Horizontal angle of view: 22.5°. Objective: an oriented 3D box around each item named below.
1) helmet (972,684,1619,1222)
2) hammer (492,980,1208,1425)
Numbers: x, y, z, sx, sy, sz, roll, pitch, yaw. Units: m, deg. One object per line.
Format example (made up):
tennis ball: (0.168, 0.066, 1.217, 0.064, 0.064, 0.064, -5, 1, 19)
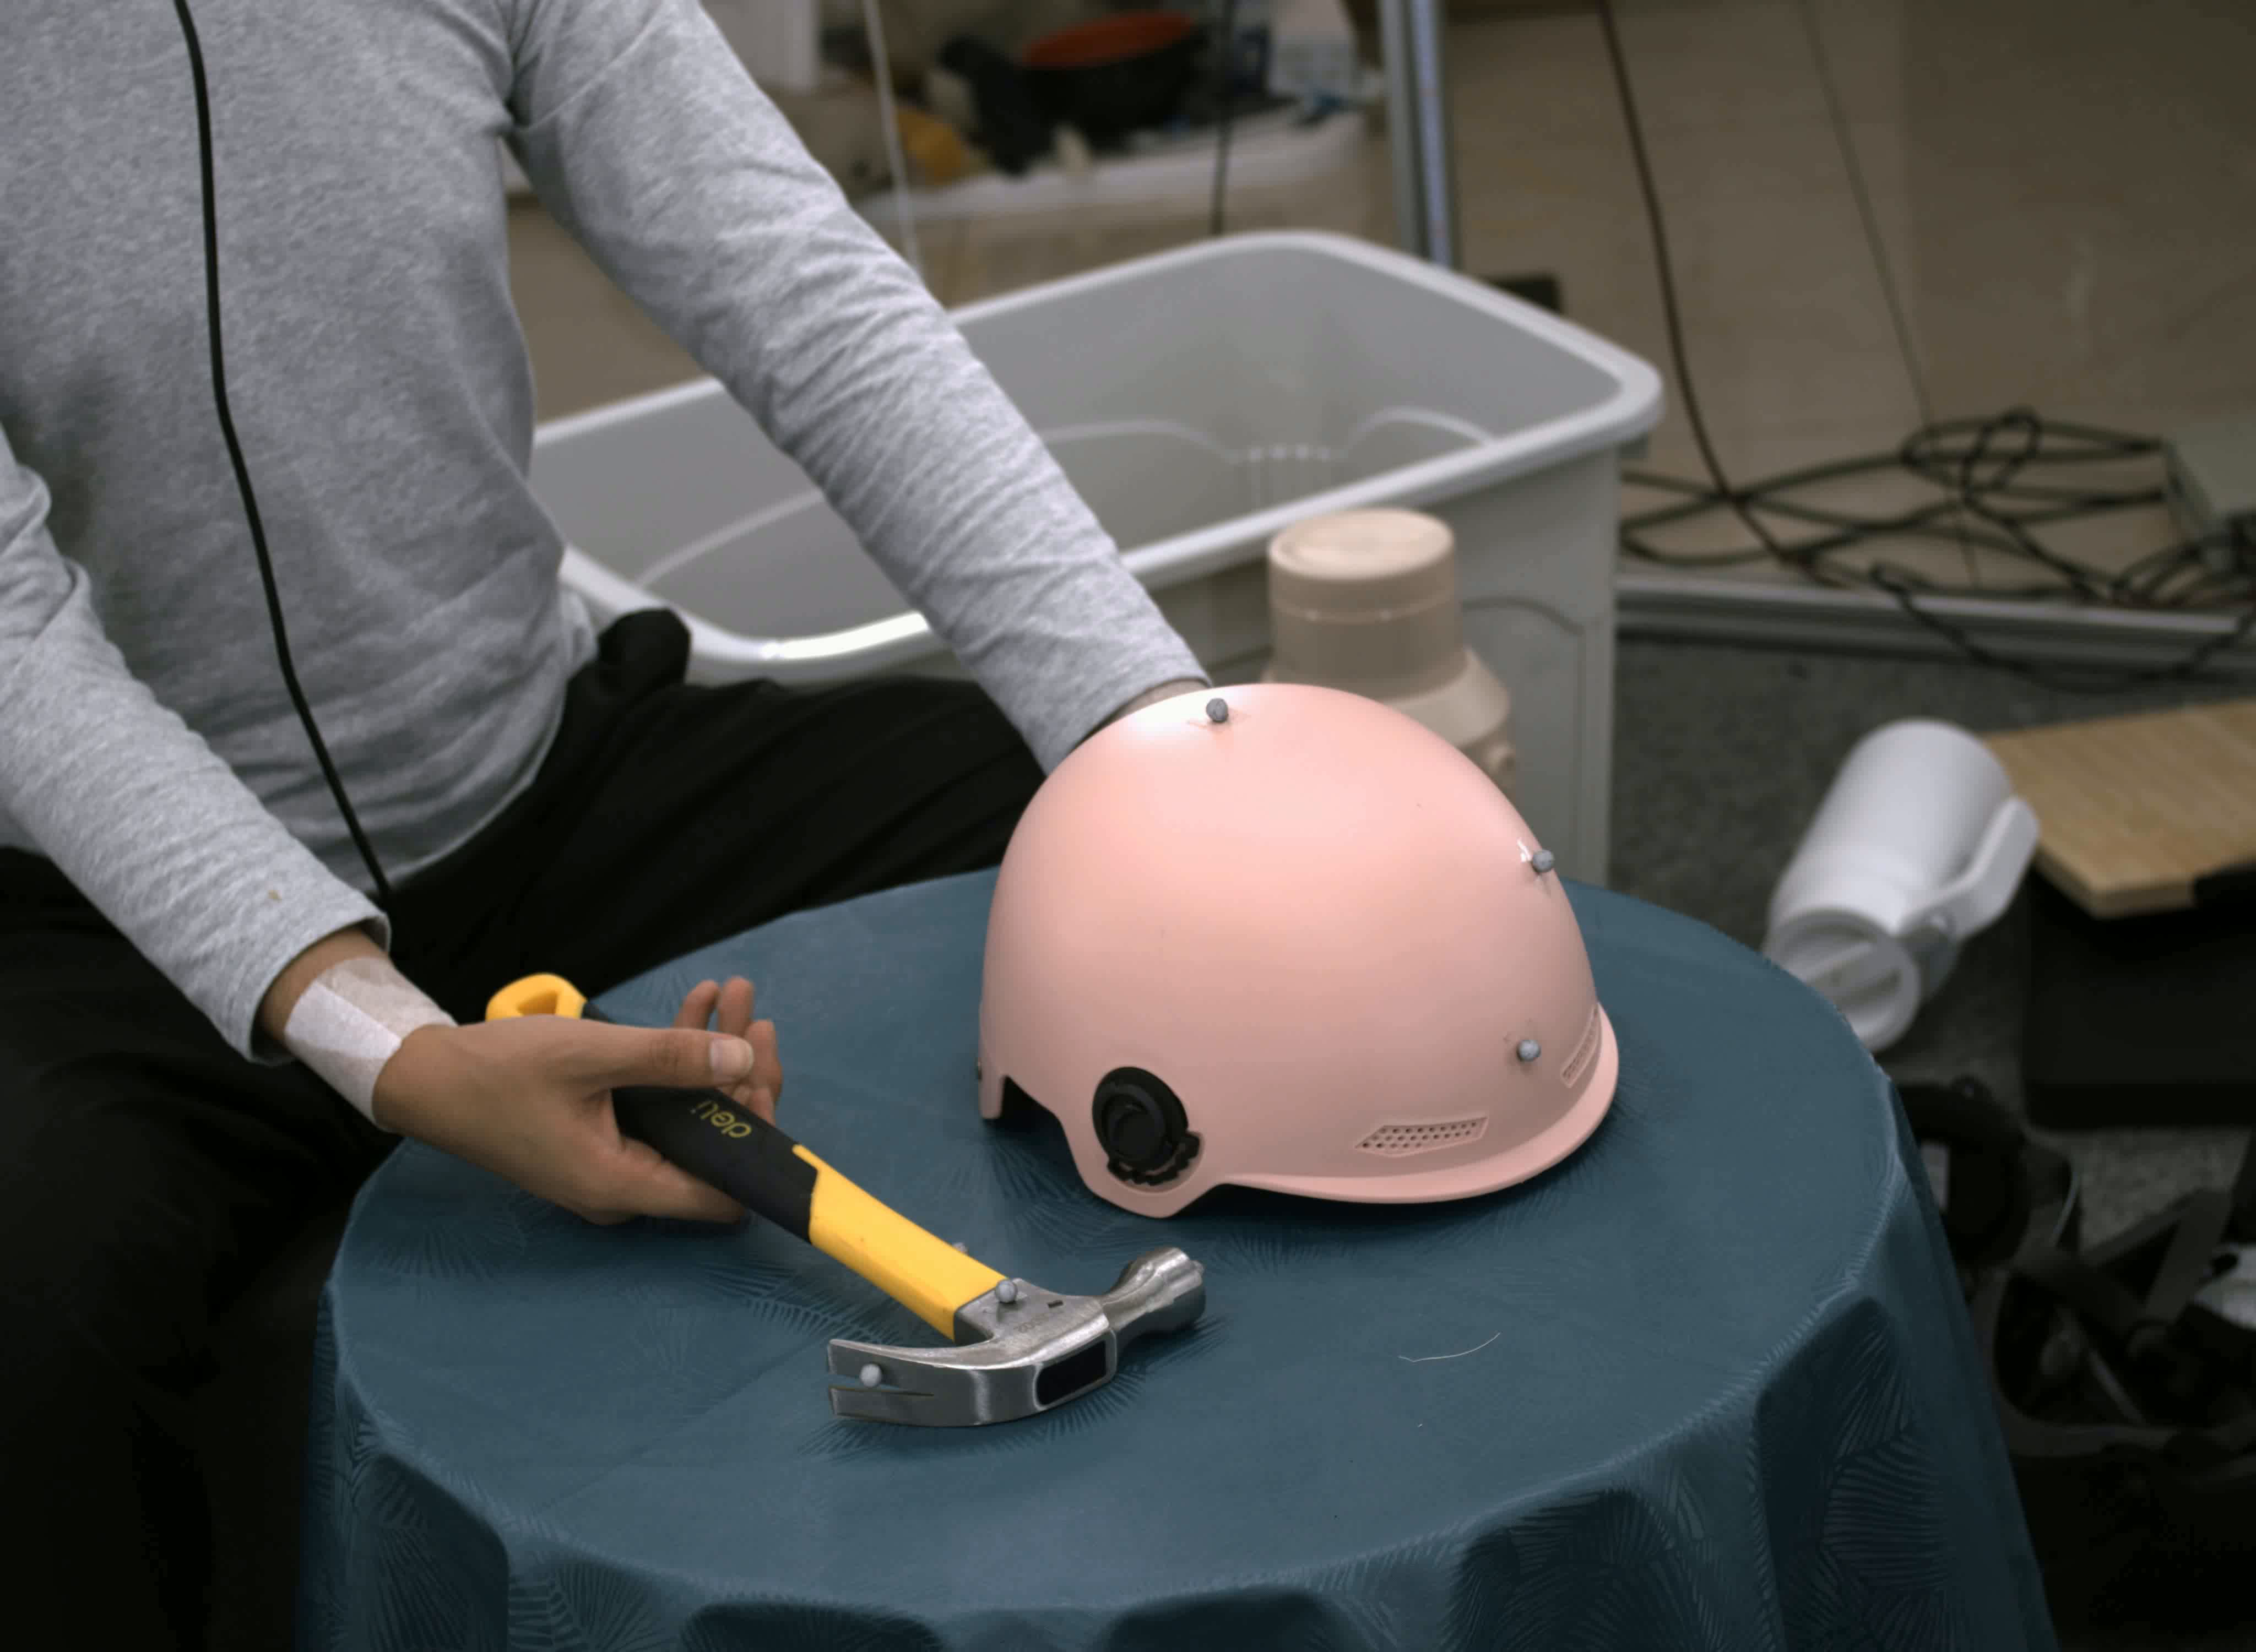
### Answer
helmet: (0.062, 0.035, 2.176, 0.232, 0.161, 0.263, -27, 35, -37)
hammer: (-0.128, 0.132, 2.117, 0.130, 0.033, 0.335, -27, 38, -32)
